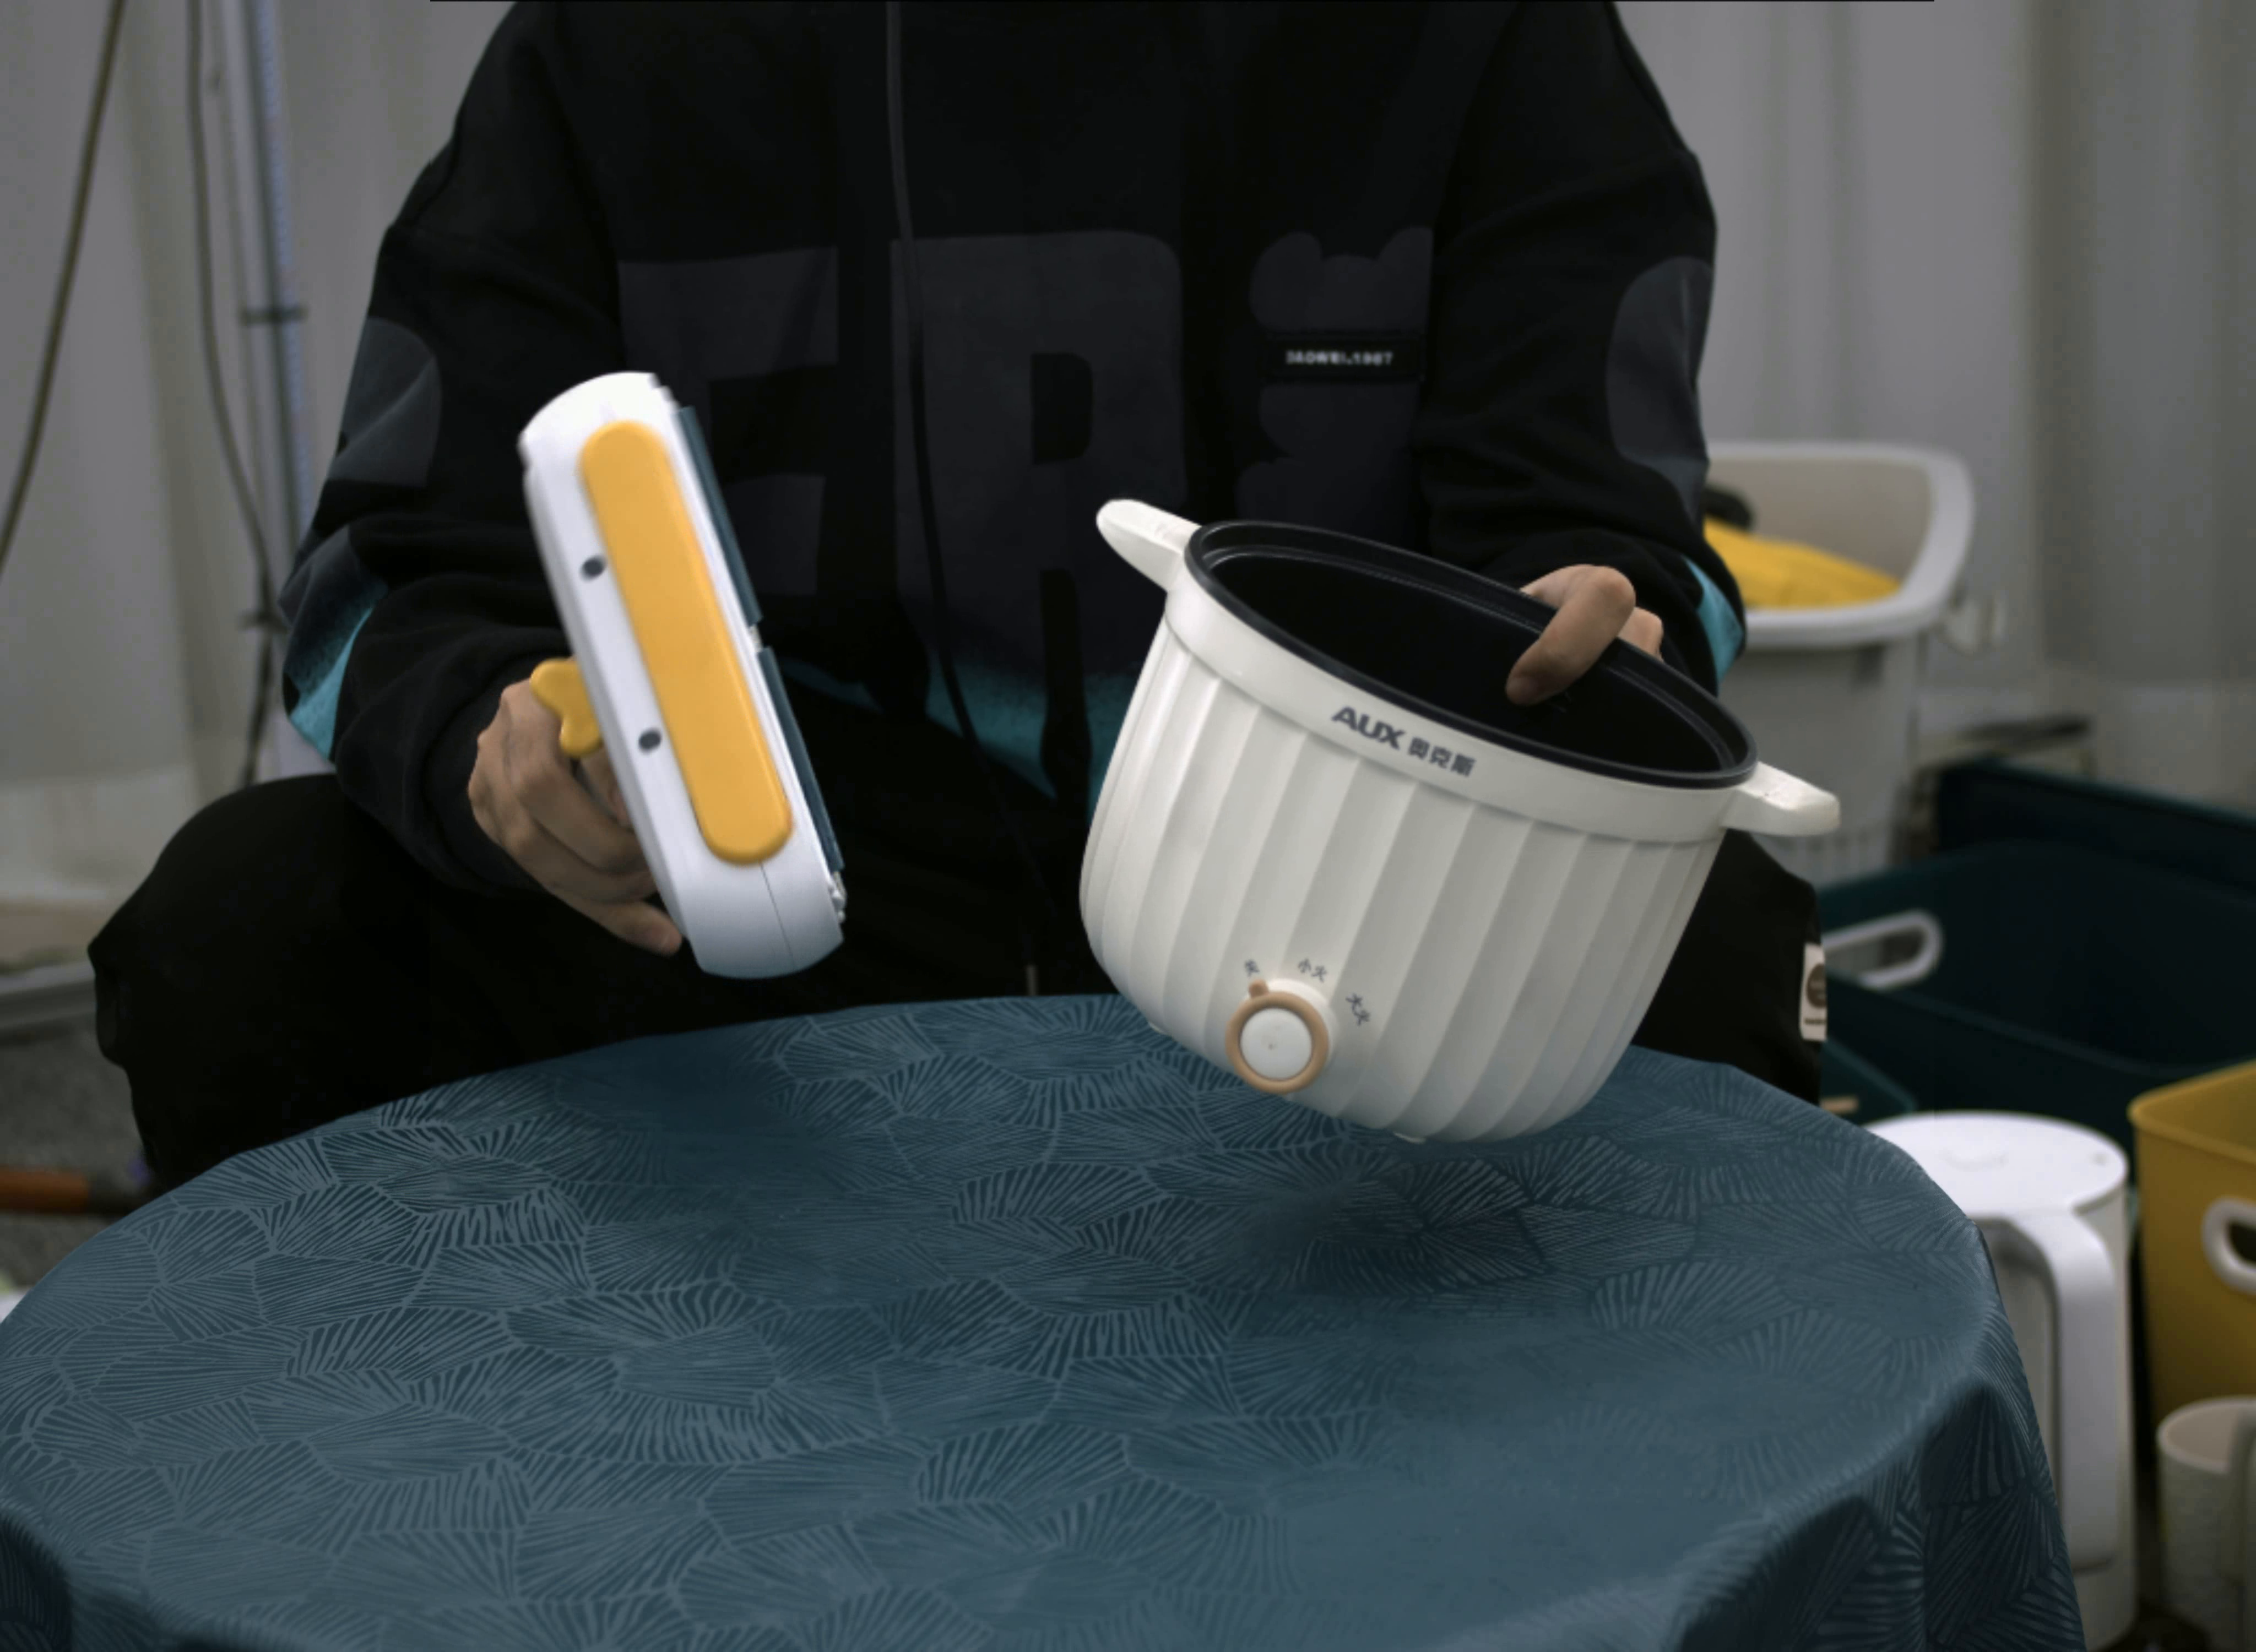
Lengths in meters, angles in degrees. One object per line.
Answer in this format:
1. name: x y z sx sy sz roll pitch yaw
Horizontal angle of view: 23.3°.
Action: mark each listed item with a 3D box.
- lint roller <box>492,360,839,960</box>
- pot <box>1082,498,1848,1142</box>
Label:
1. lint roller: -0.150 -0.027 1.710 0.074 0.195 0.191 -22 -18 -13
2. pot: 0.080 0.007 1.628 0.240 0.142 0.191 22 13 9
